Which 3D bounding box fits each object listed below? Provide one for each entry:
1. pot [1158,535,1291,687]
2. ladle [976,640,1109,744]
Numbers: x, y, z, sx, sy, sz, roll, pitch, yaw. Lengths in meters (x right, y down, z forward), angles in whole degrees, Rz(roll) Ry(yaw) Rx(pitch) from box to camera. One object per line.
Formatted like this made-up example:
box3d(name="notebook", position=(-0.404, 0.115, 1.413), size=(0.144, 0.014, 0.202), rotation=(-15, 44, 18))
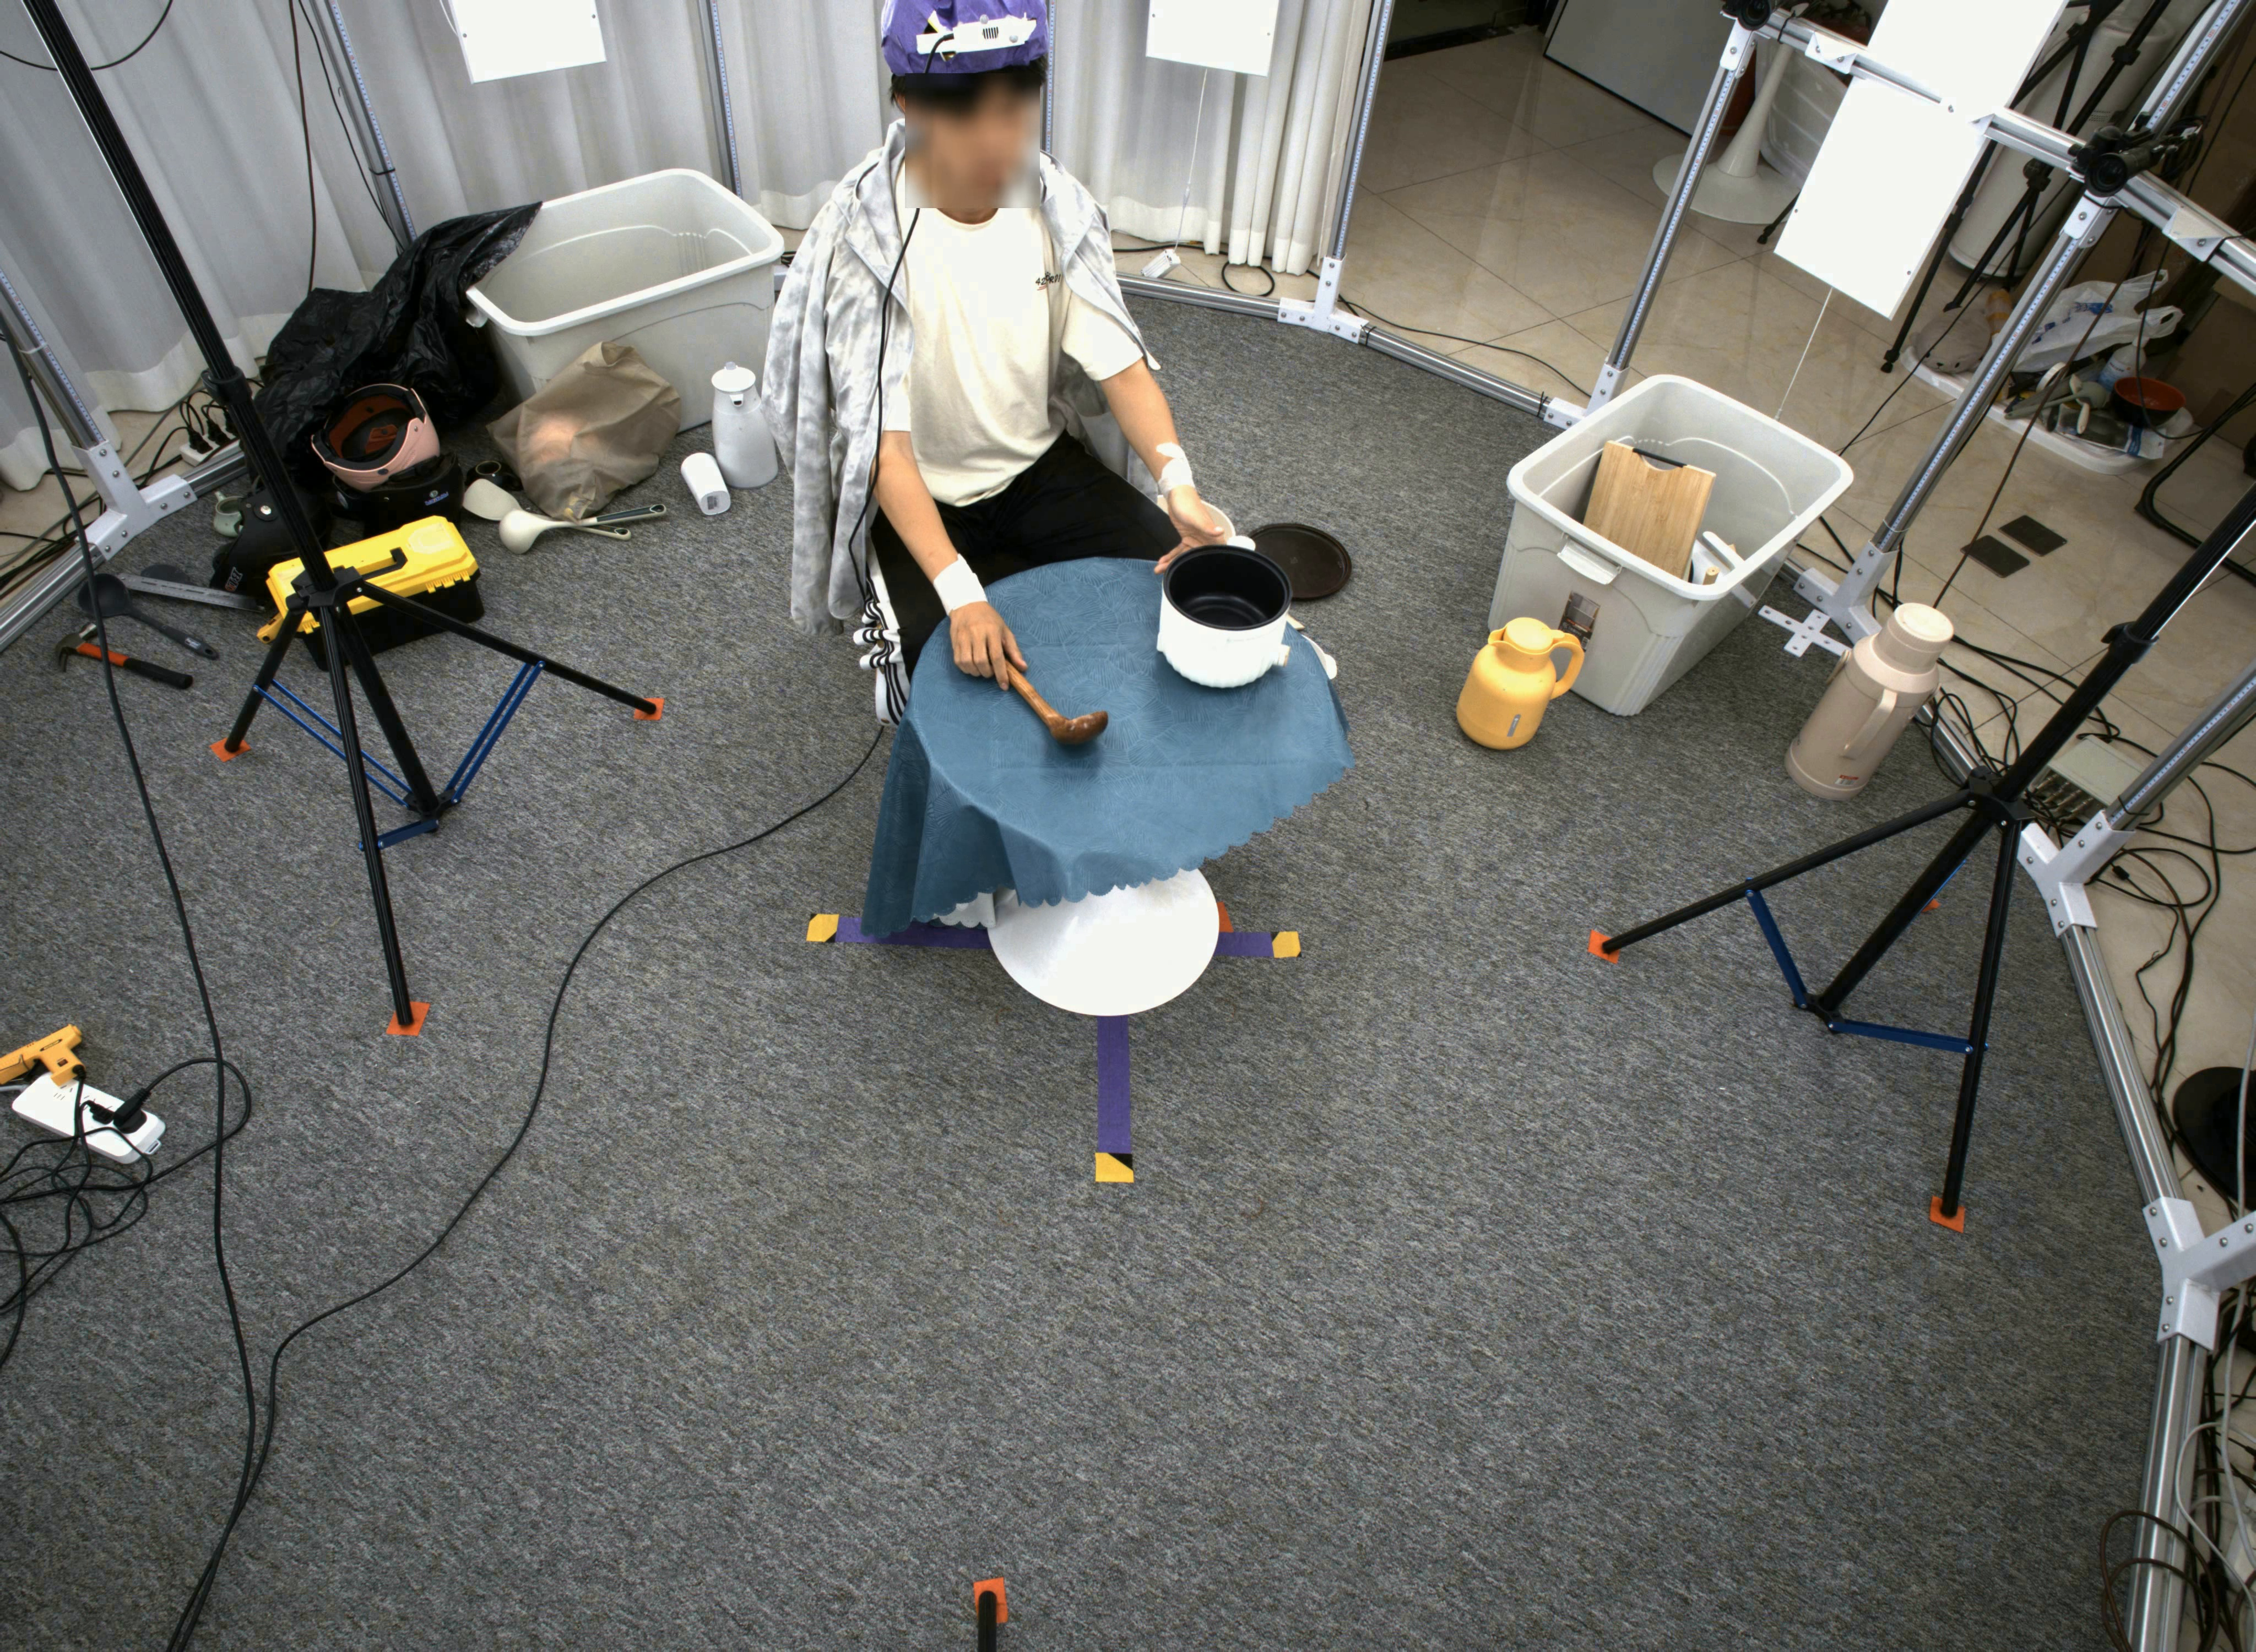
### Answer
box3d(name="pot", position=(0.141, -0.294, 1.836), size=(0.191, 0.139, 0.246), rotation=(10, 50, 10))
box3d(name="ladle", position=(-0.127, -0.203, 1.779), size=(0.082, 0.075, 0.279), rotation=(-9, 45, -41))
